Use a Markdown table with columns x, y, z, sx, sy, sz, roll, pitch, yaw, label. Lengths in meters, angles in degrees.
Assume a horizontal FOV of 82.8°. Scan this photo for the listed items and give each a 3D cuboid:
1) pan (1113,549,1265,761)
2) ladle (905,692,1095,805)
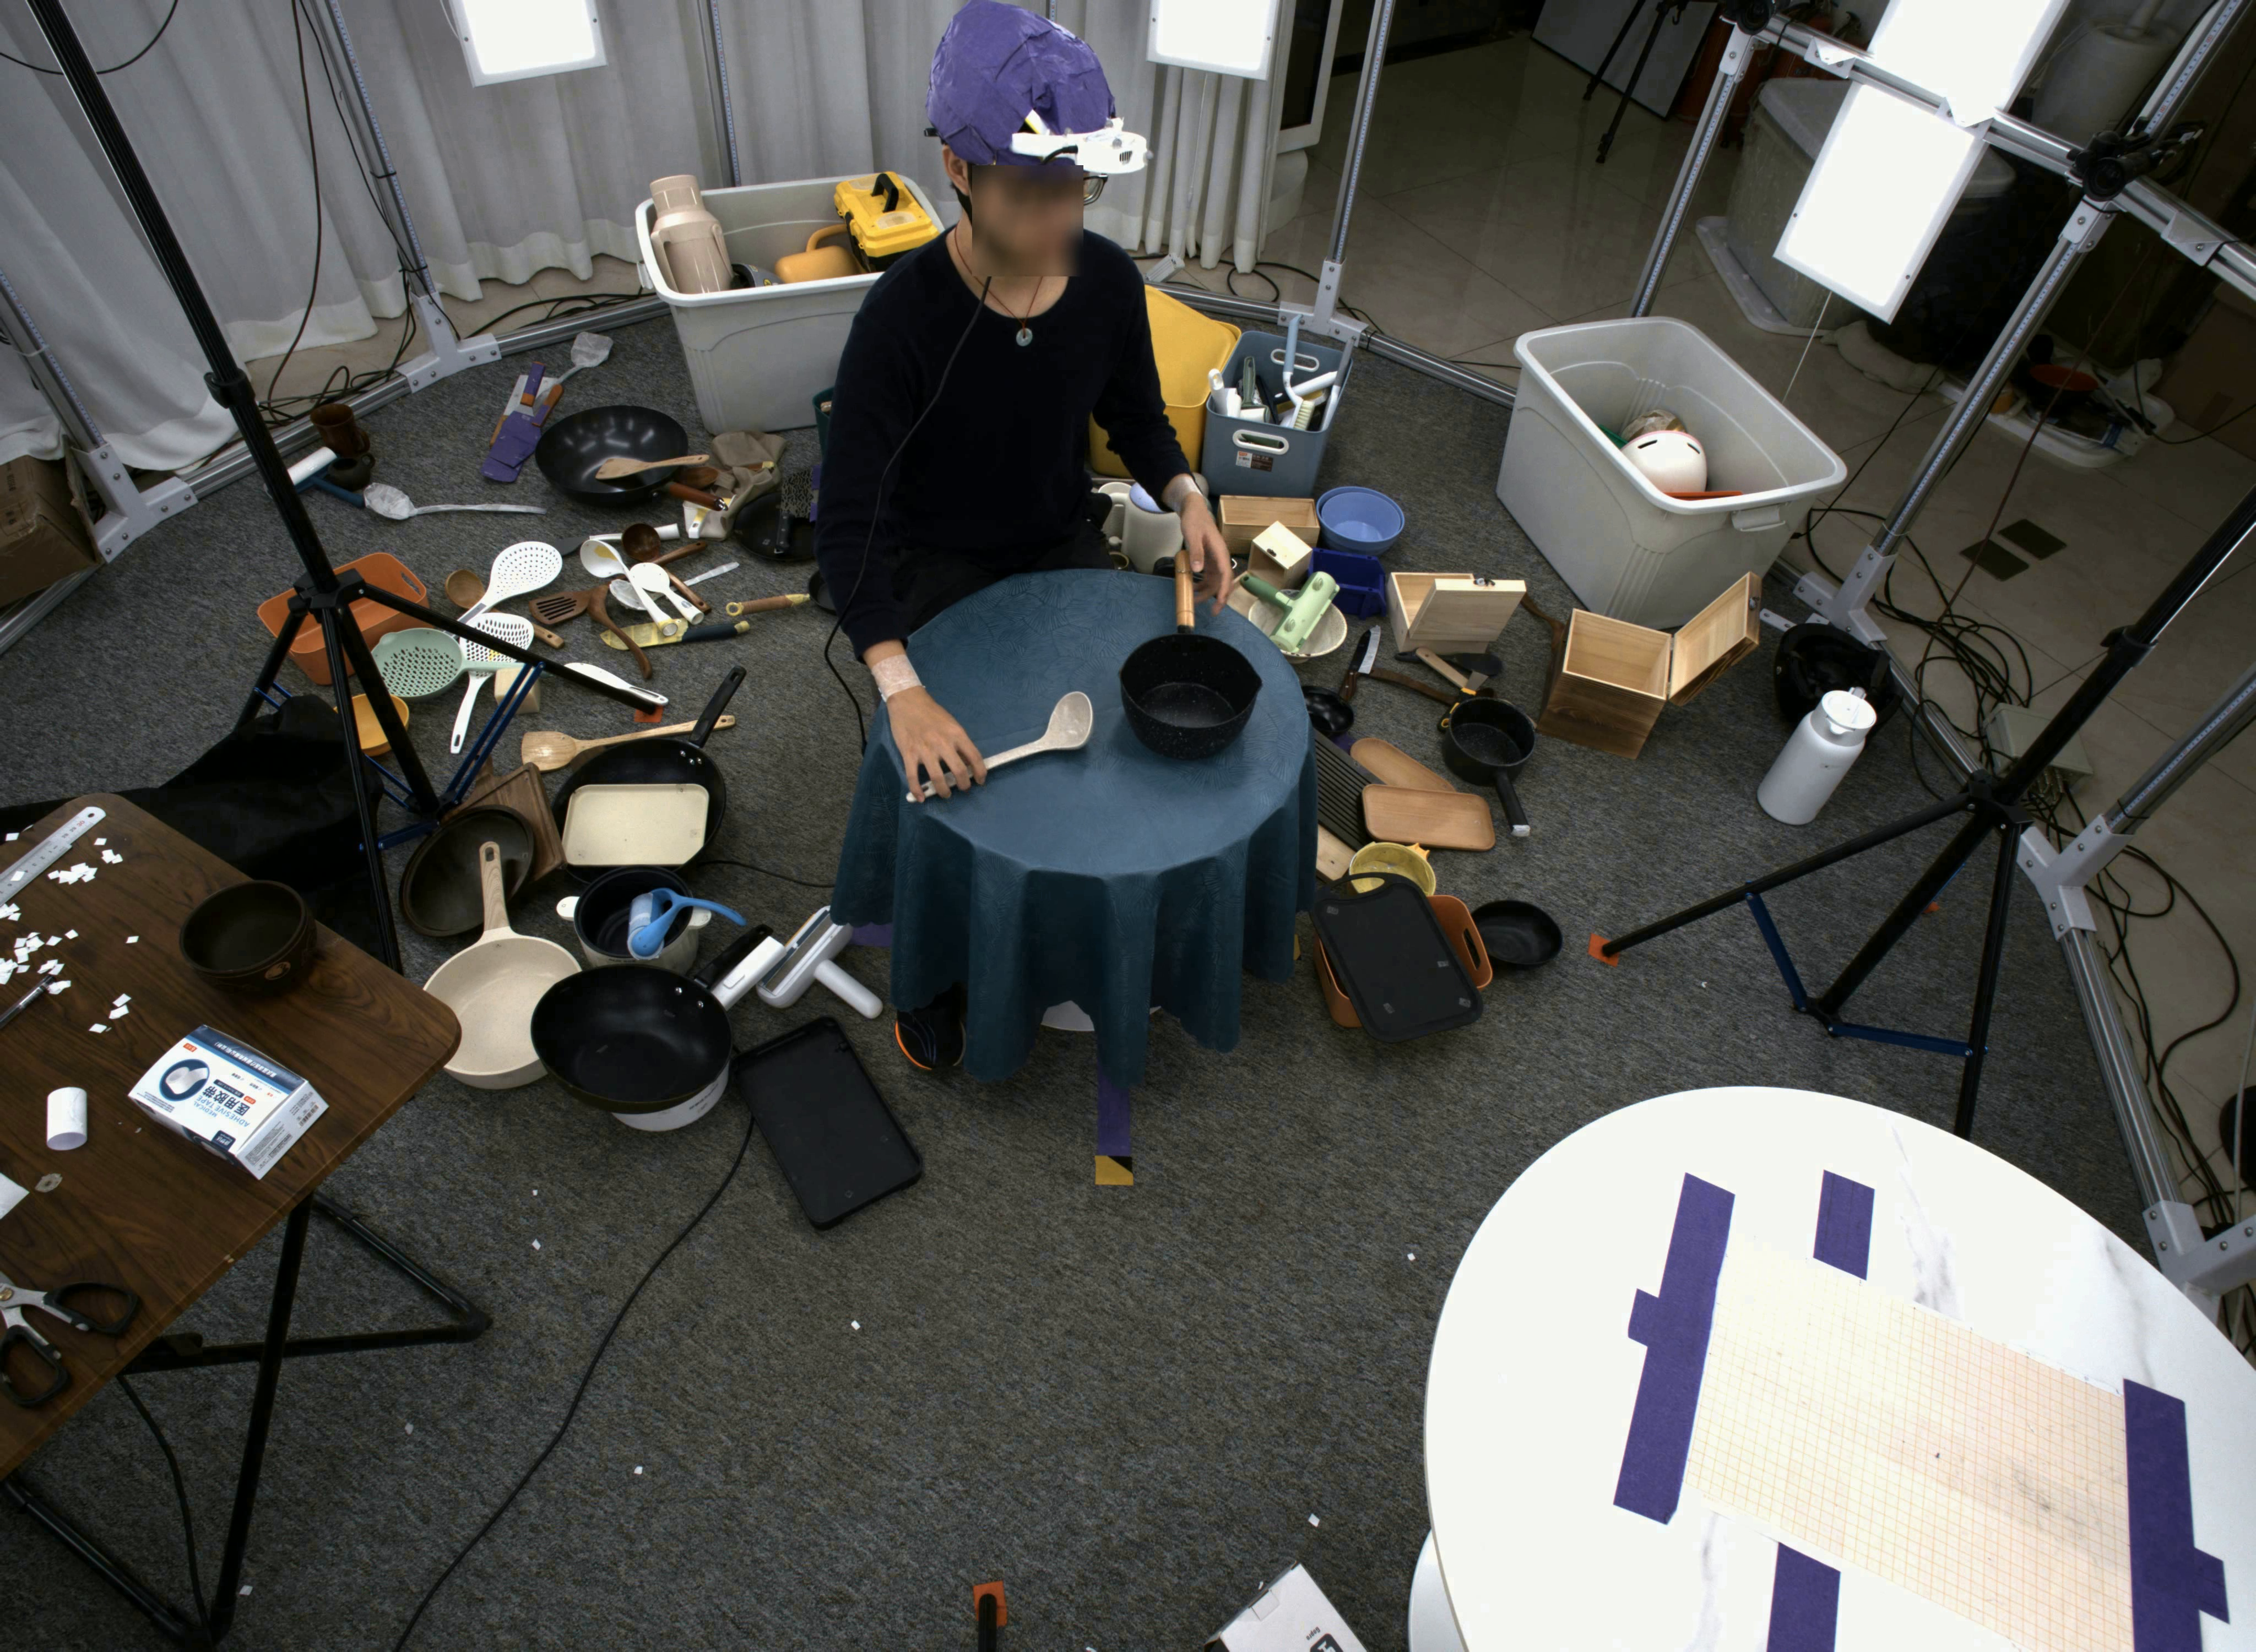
| x | y | z | sx | sy | sz | roll | pitch | yaw | label |
| --- | --- | --- | --- | --- | --- | --- | --- | --- | --- |
| 0.080 | -0.243 | 1.815 | 0.207 | 0.105 | 0.351 | 0 | 50 | -3 | pan |
| -0.170 | -0.103 | 1.703 | 0.275 | 0.068 | 0.091 | -22 | 47 | -21 | ladle |
